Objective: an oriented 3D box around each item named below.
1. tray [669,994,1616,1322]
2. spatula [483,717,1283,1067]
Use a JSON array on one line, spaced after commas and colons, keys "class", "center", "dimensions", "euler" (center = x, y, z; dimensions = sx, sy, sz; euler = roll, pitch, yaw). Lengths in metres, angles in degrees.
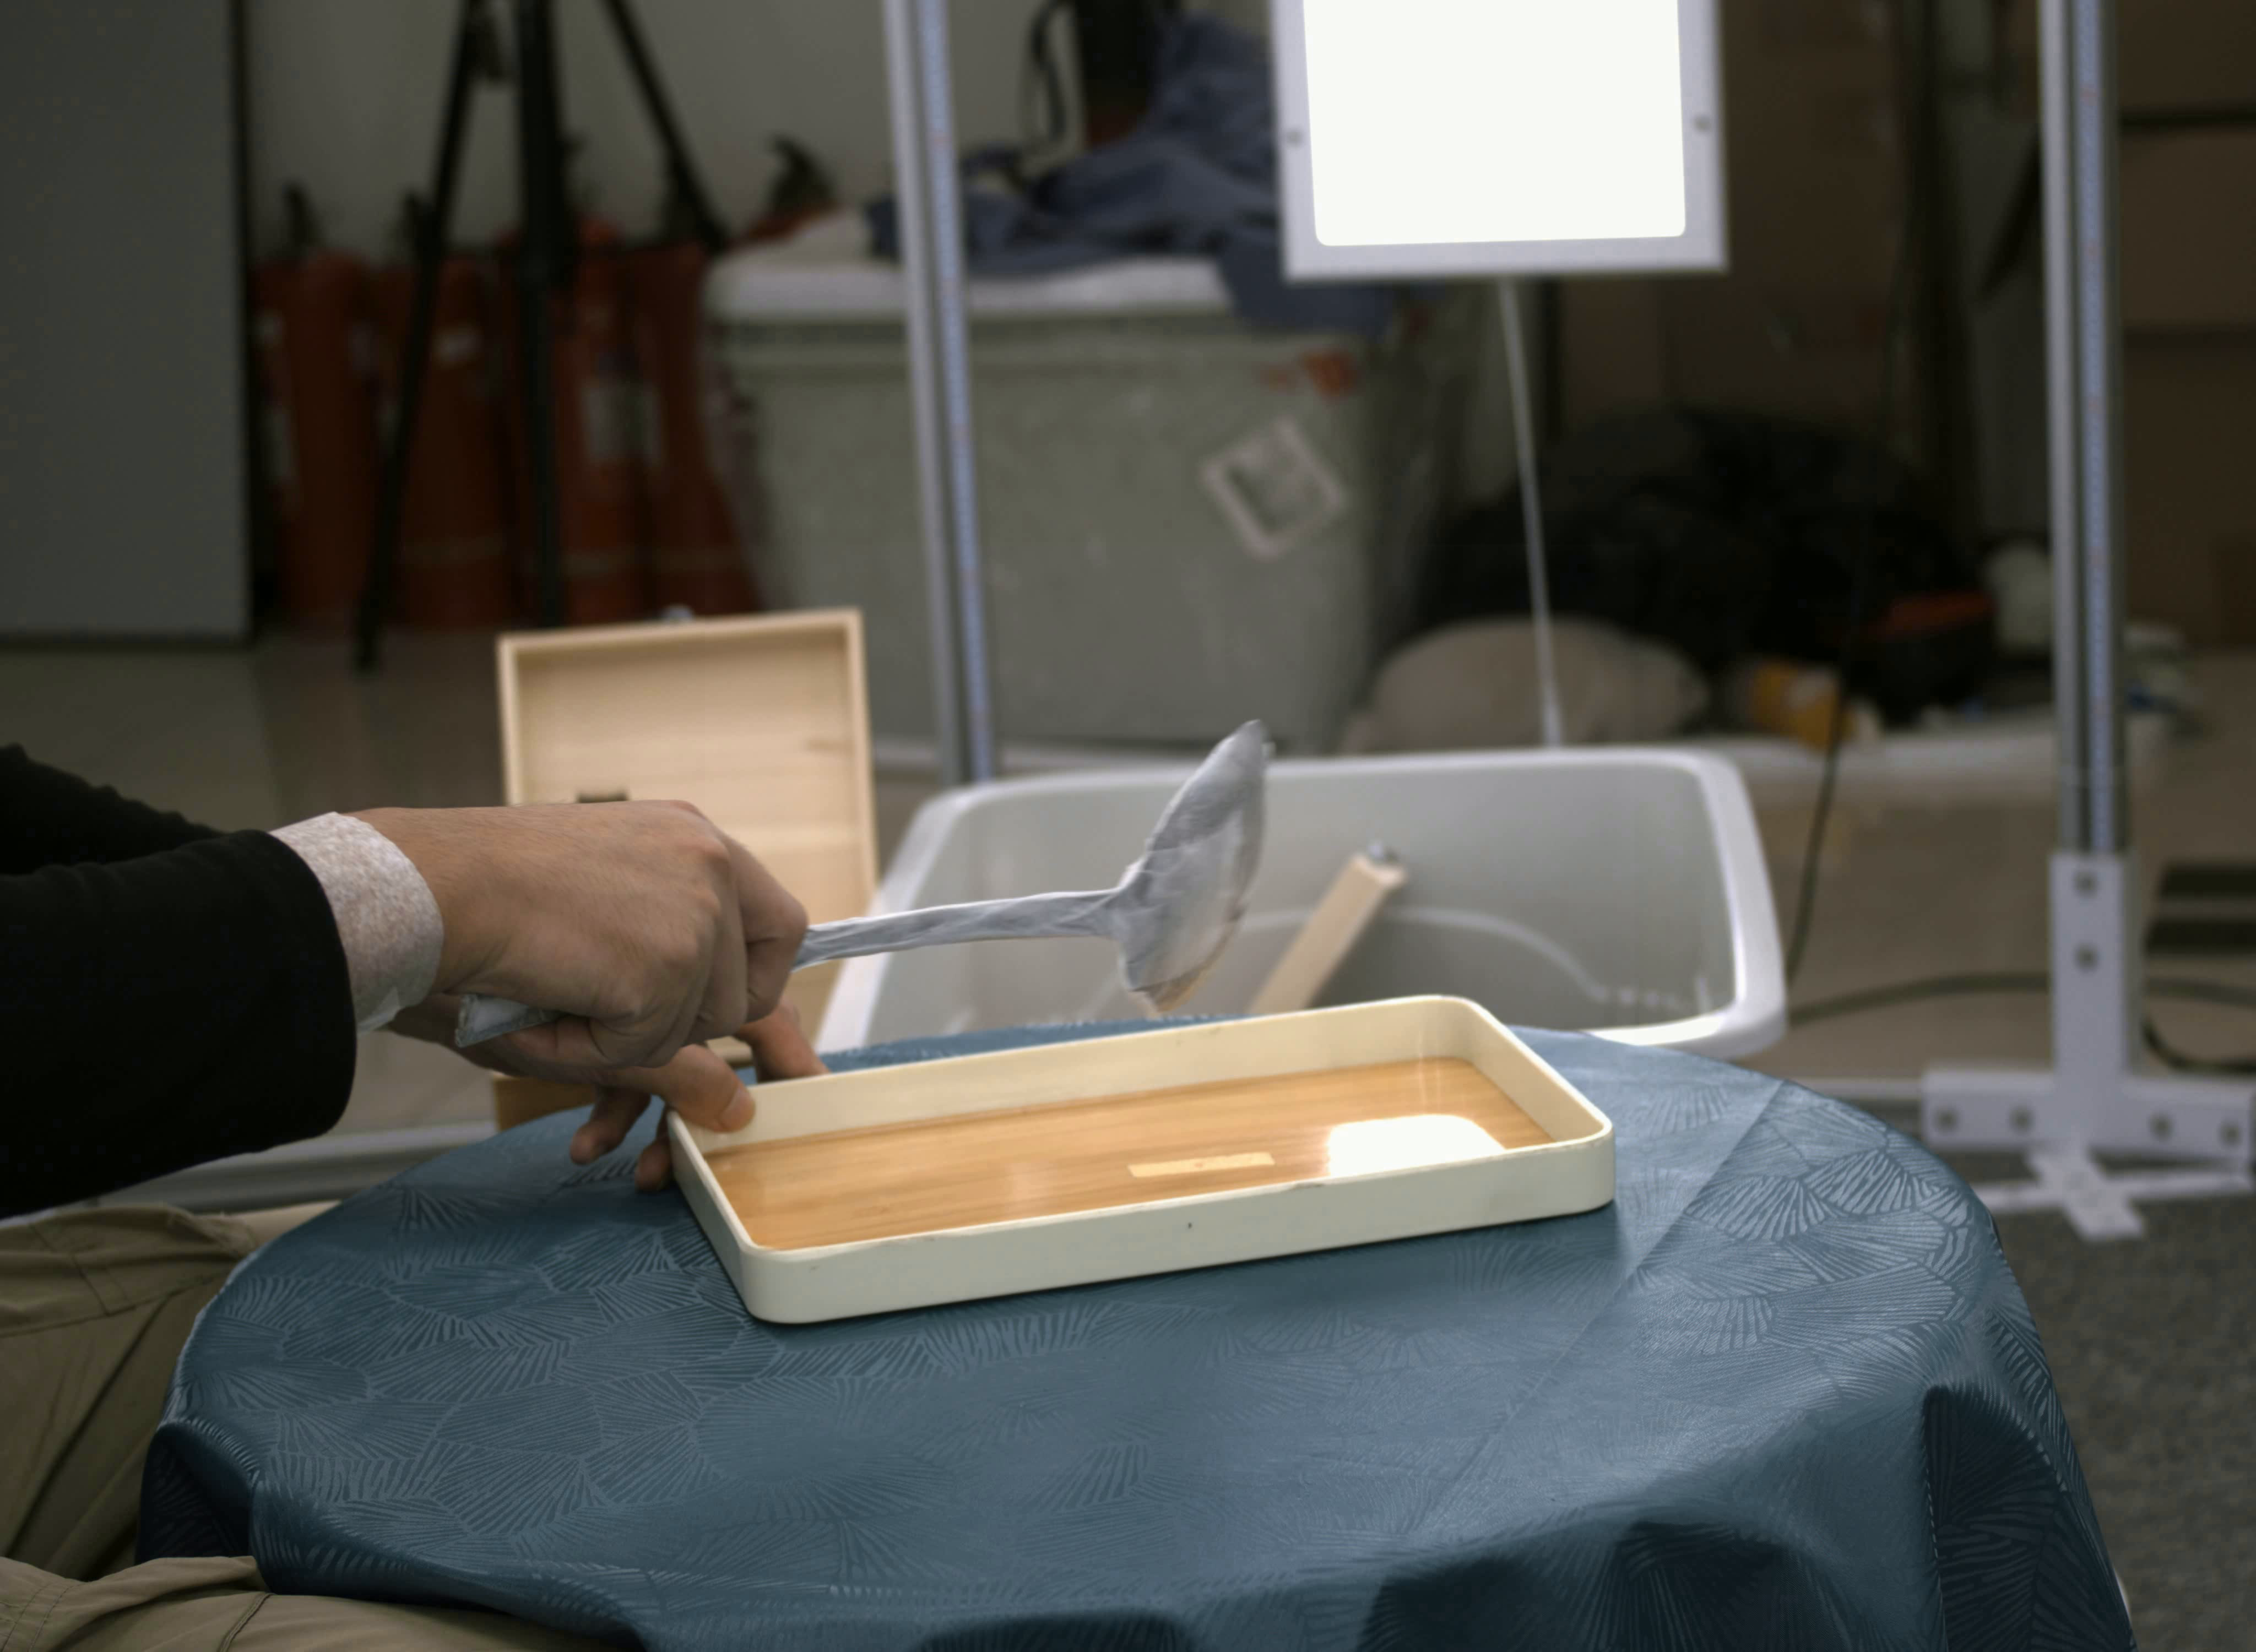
[{"class": "tray", "center": [0.002, 0.112, 1.894], "dimensions": [0.297, 0.027, 0.193], "euler": [-7, 15, -10]}, {"class": "spatula", "center": [-0.069, 0.032, 1.736], "dimensions": [0.355, 0.099, 0.045], "euler": [-9, 28, -41]}]
